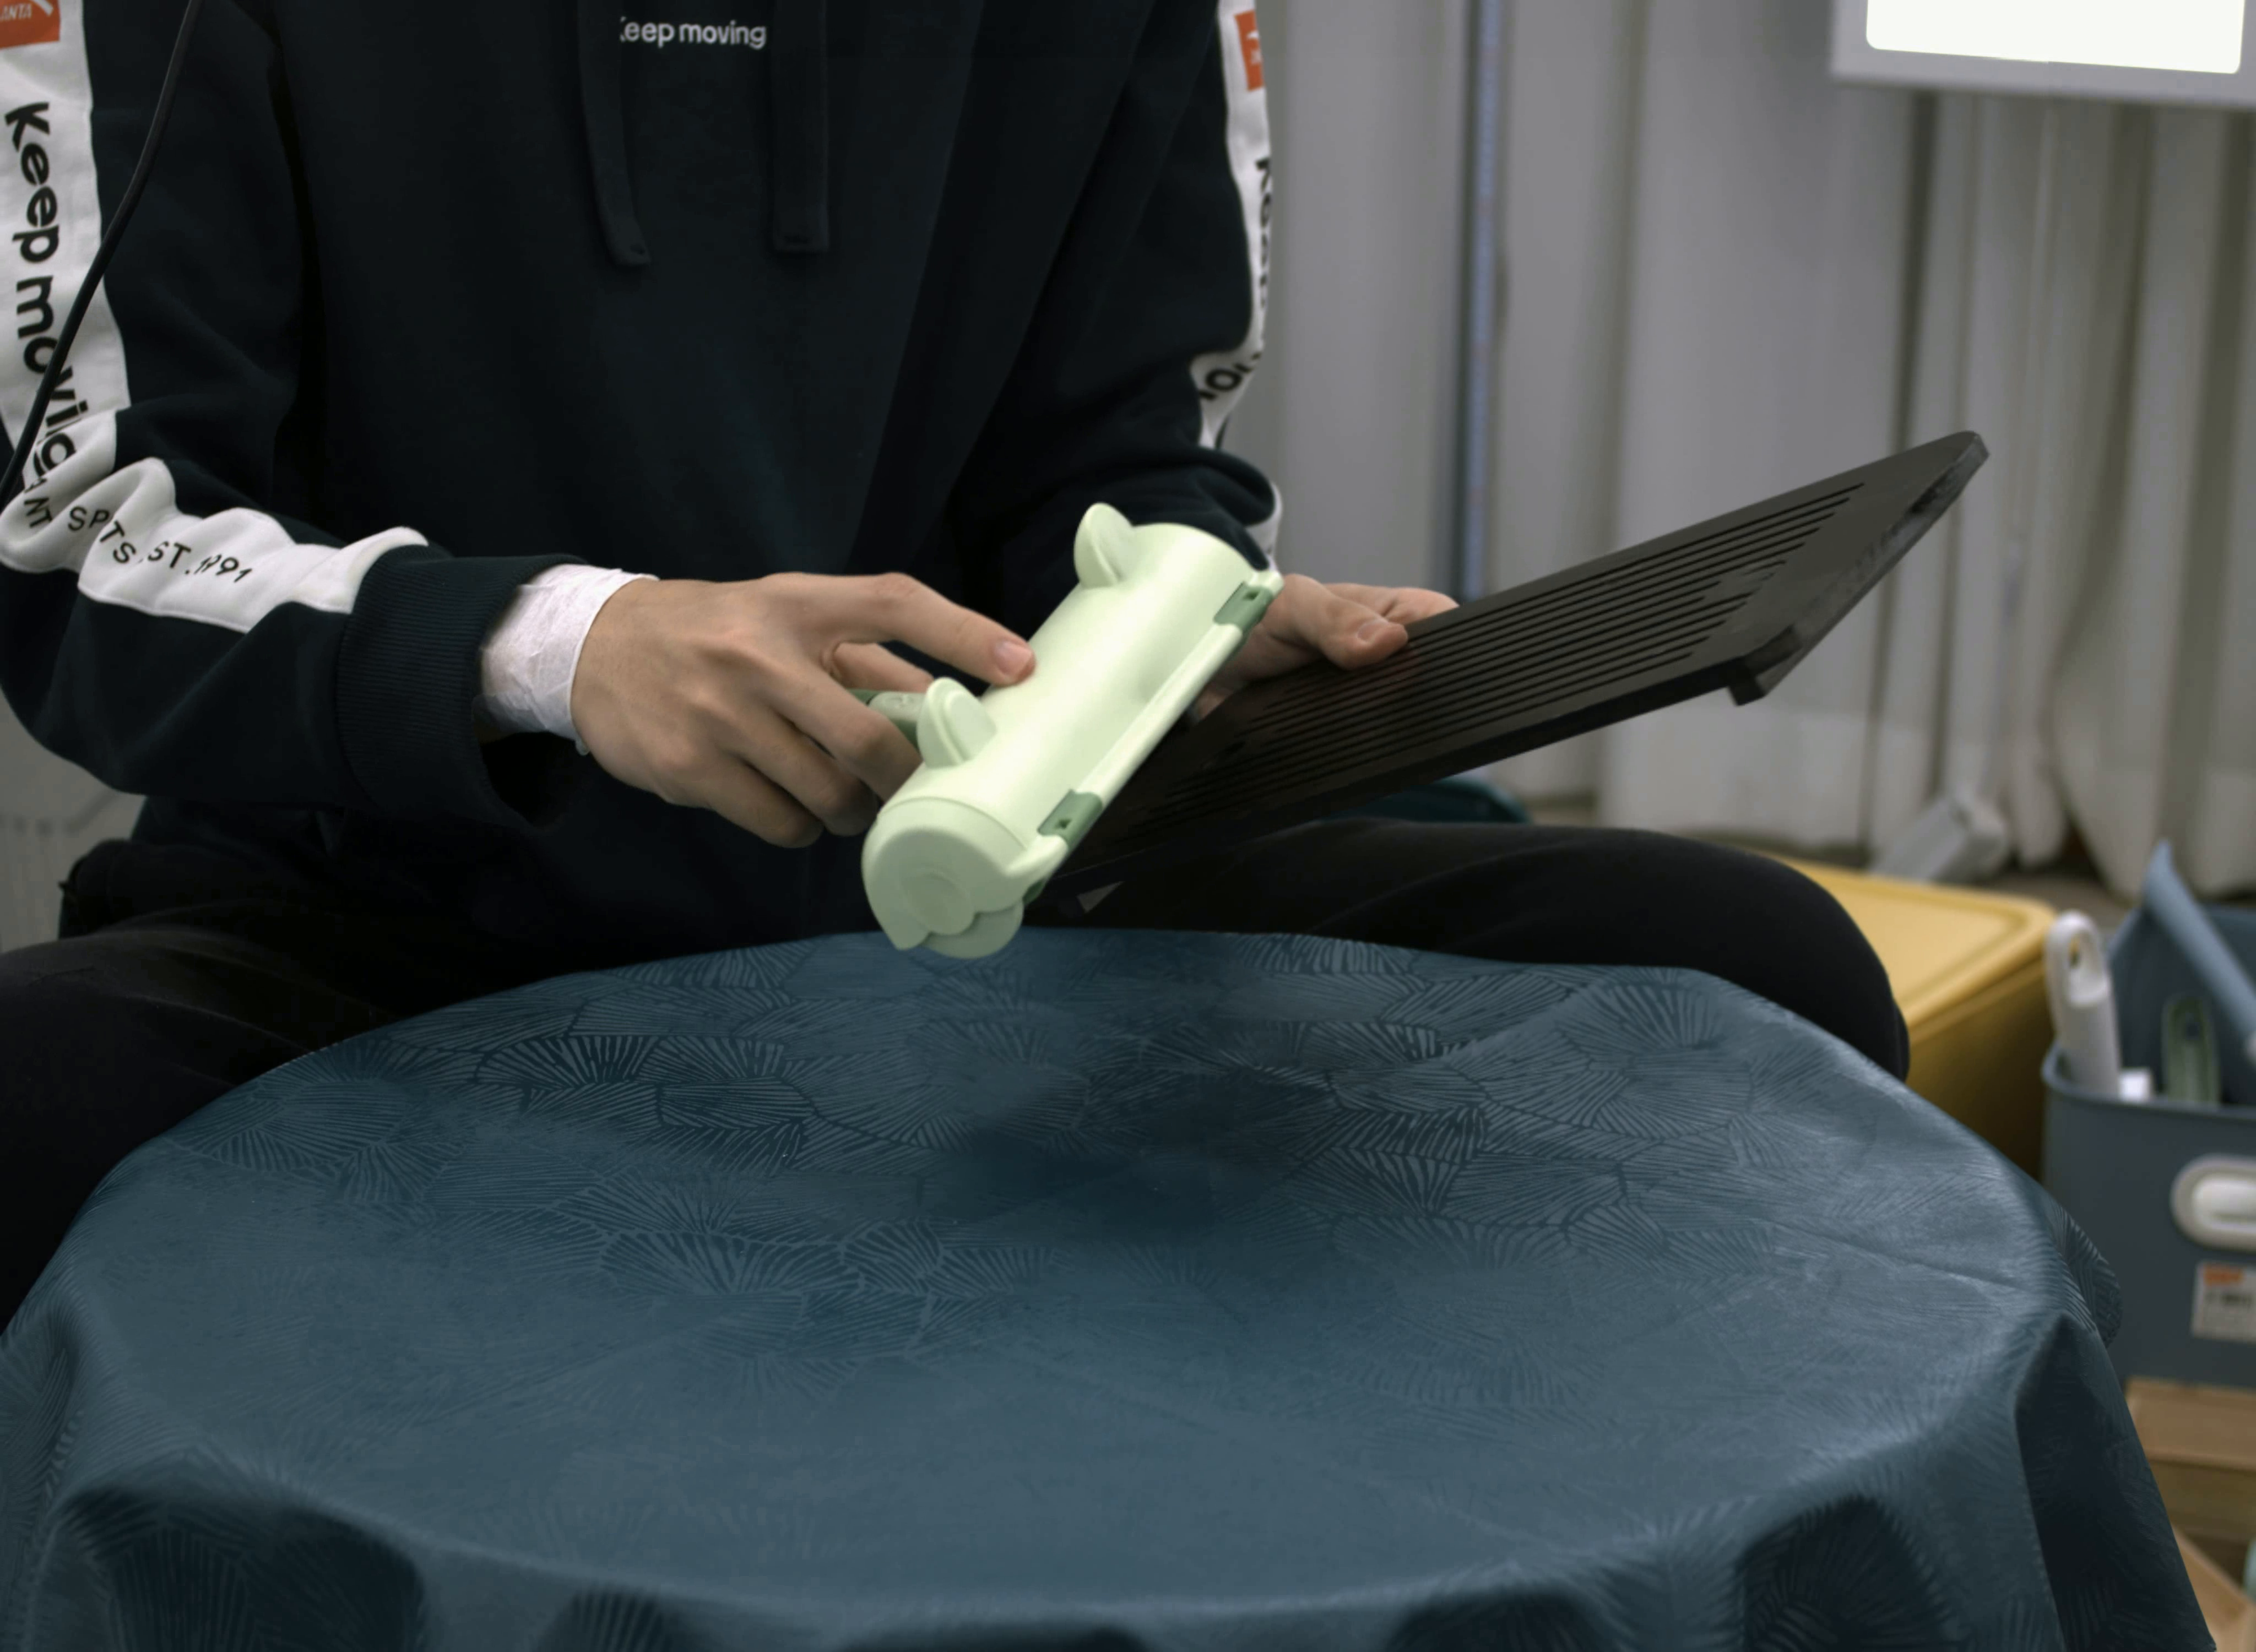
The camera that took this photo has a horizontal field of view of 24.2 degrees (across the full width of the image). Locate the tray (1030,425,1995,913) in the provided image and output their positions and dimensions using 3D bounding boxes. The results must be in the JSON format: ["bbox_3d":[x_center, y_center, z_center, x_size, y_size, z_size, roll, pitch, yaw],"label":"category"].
[{"bbox_3d":[0.117,-0.046,1.648,0.303,0.019,0.170,-19,14,38],"label":"tray"}]

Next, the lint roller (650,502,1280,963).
[{"bbox_3d":[-0.070,-0.040,1.617,0.181,0.083,0.198,7,33,22],"label":"lint roller"}]
